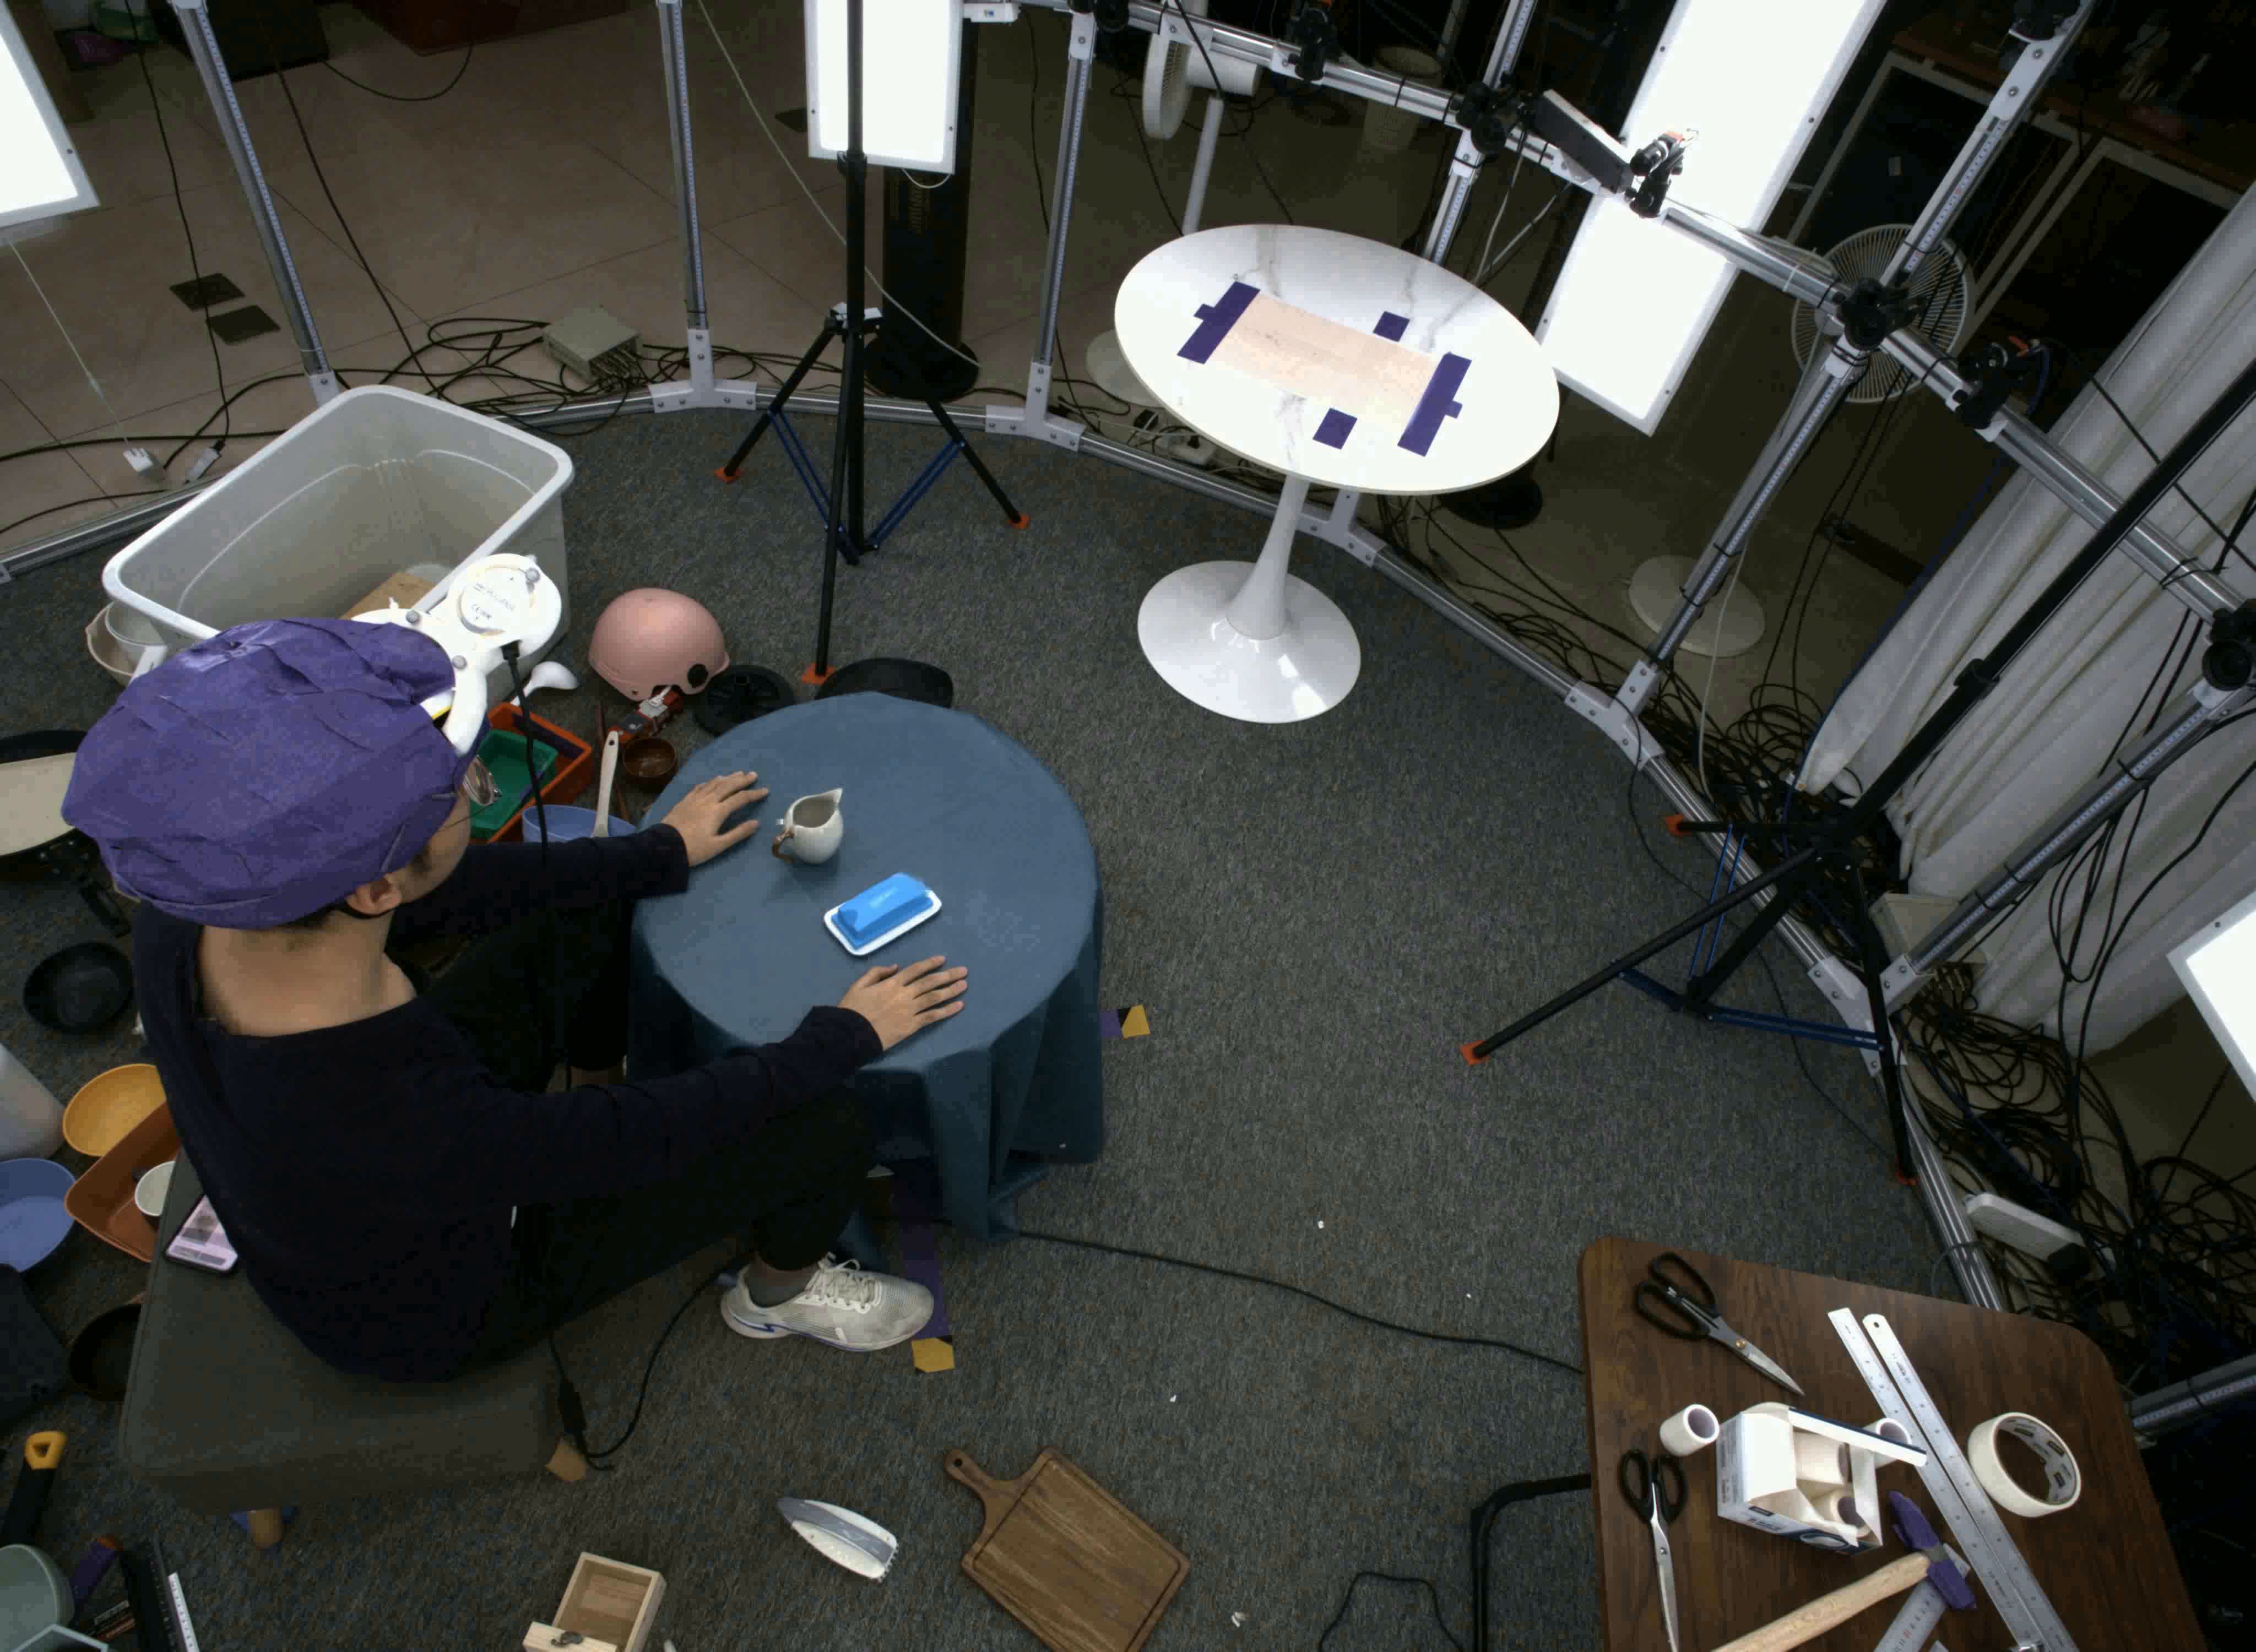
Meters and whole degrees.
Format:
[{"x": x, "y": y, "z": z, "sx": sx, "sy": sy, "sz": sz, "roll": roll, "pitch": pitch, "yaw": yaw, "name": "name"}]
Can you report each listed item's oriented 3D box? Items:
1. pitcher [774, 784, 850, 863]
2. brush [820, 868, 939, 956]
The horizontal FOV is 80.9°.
[{"x": -0.405, "y": 0.004, "z": 1.671, "sx": 0.074, "sy": 0.090, "sz": 0.119, "roll": 38, "pitch": 50, "yaw": 24, "name": "pitcher"}, {"x": -0.313, "y": 0.100, "z": 1.640, "sx": 0.144, "sy": 0.057, "sz": 0.081, "roll": -27, "pitch": 61, "yaw": -32, "name": "brush"}]
